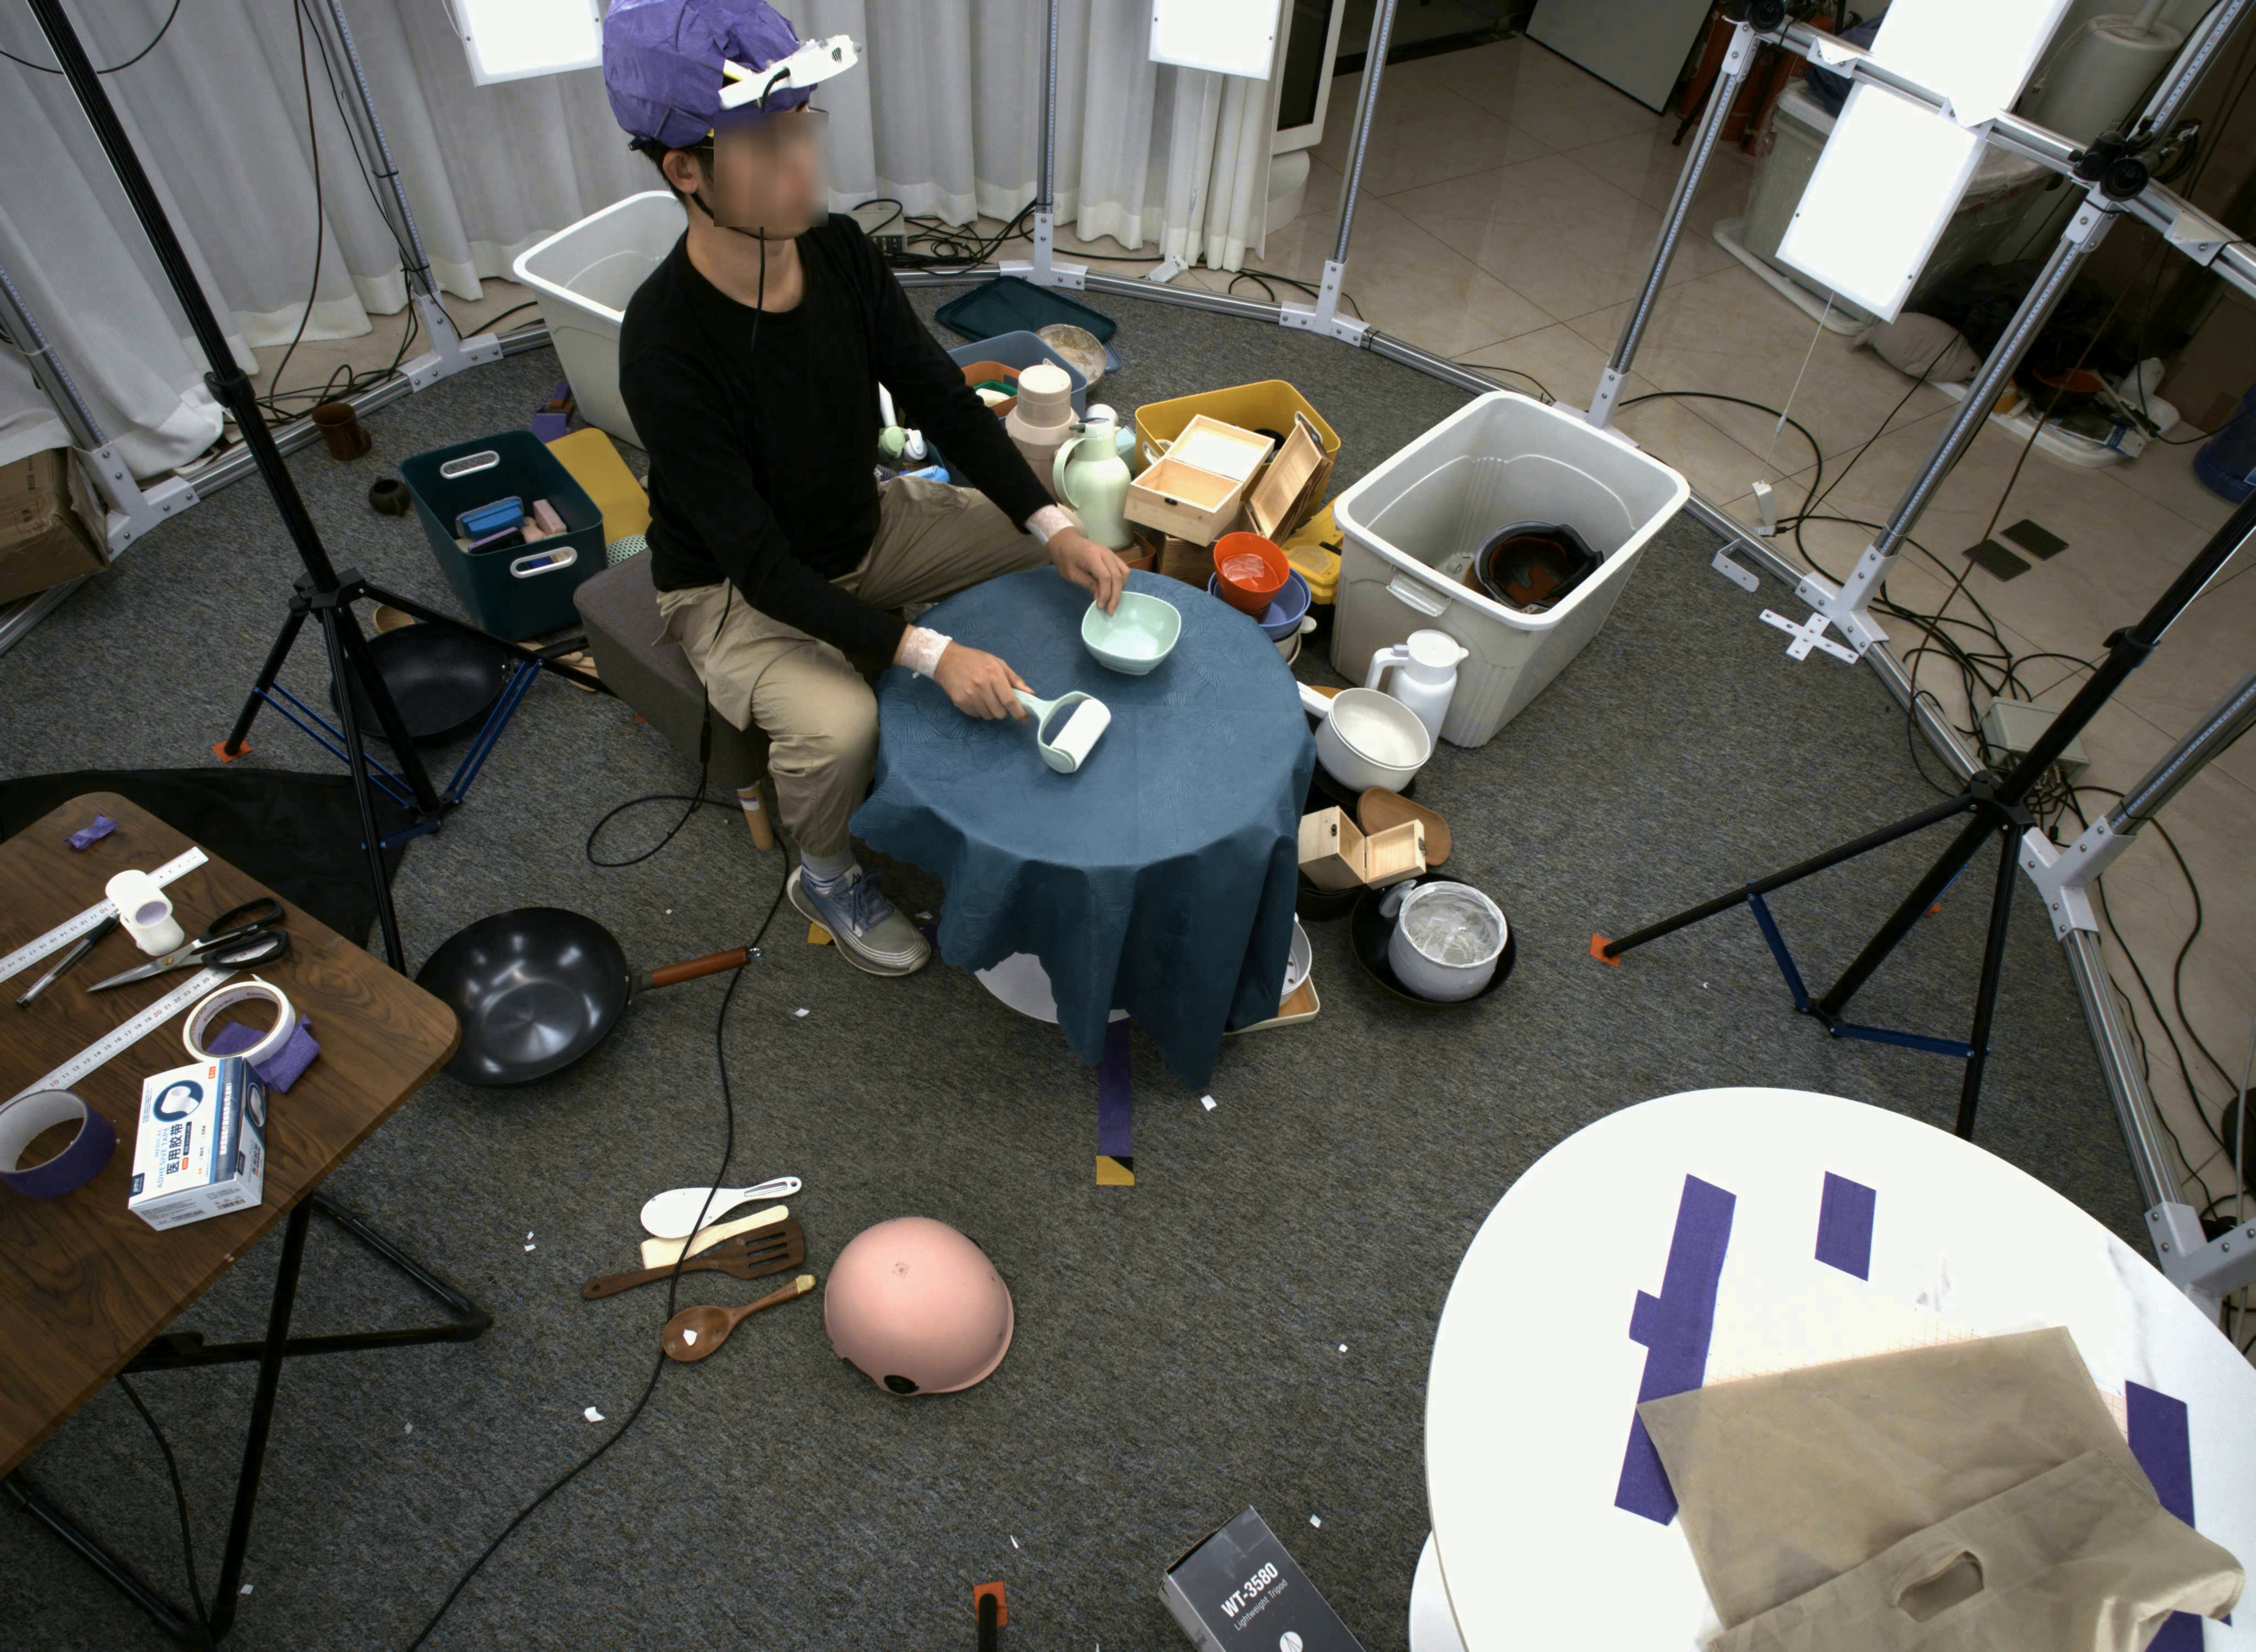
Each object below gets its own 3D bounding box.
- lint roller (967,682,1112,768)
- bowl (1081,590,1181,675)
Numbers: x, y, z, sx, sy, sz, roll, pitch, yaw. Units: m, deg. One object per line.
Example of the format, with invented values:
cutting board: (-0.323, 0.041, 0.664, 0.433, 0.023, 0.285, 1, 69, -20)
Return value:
lint roller: (-0.129, -0.162, 1.754, 0.198, 0.047, 0.118, 26, 57, 10)
bowl: (0.003, -0.273, 1.870, 0.151, 0.057, 0.155, 2, 50, -3)
